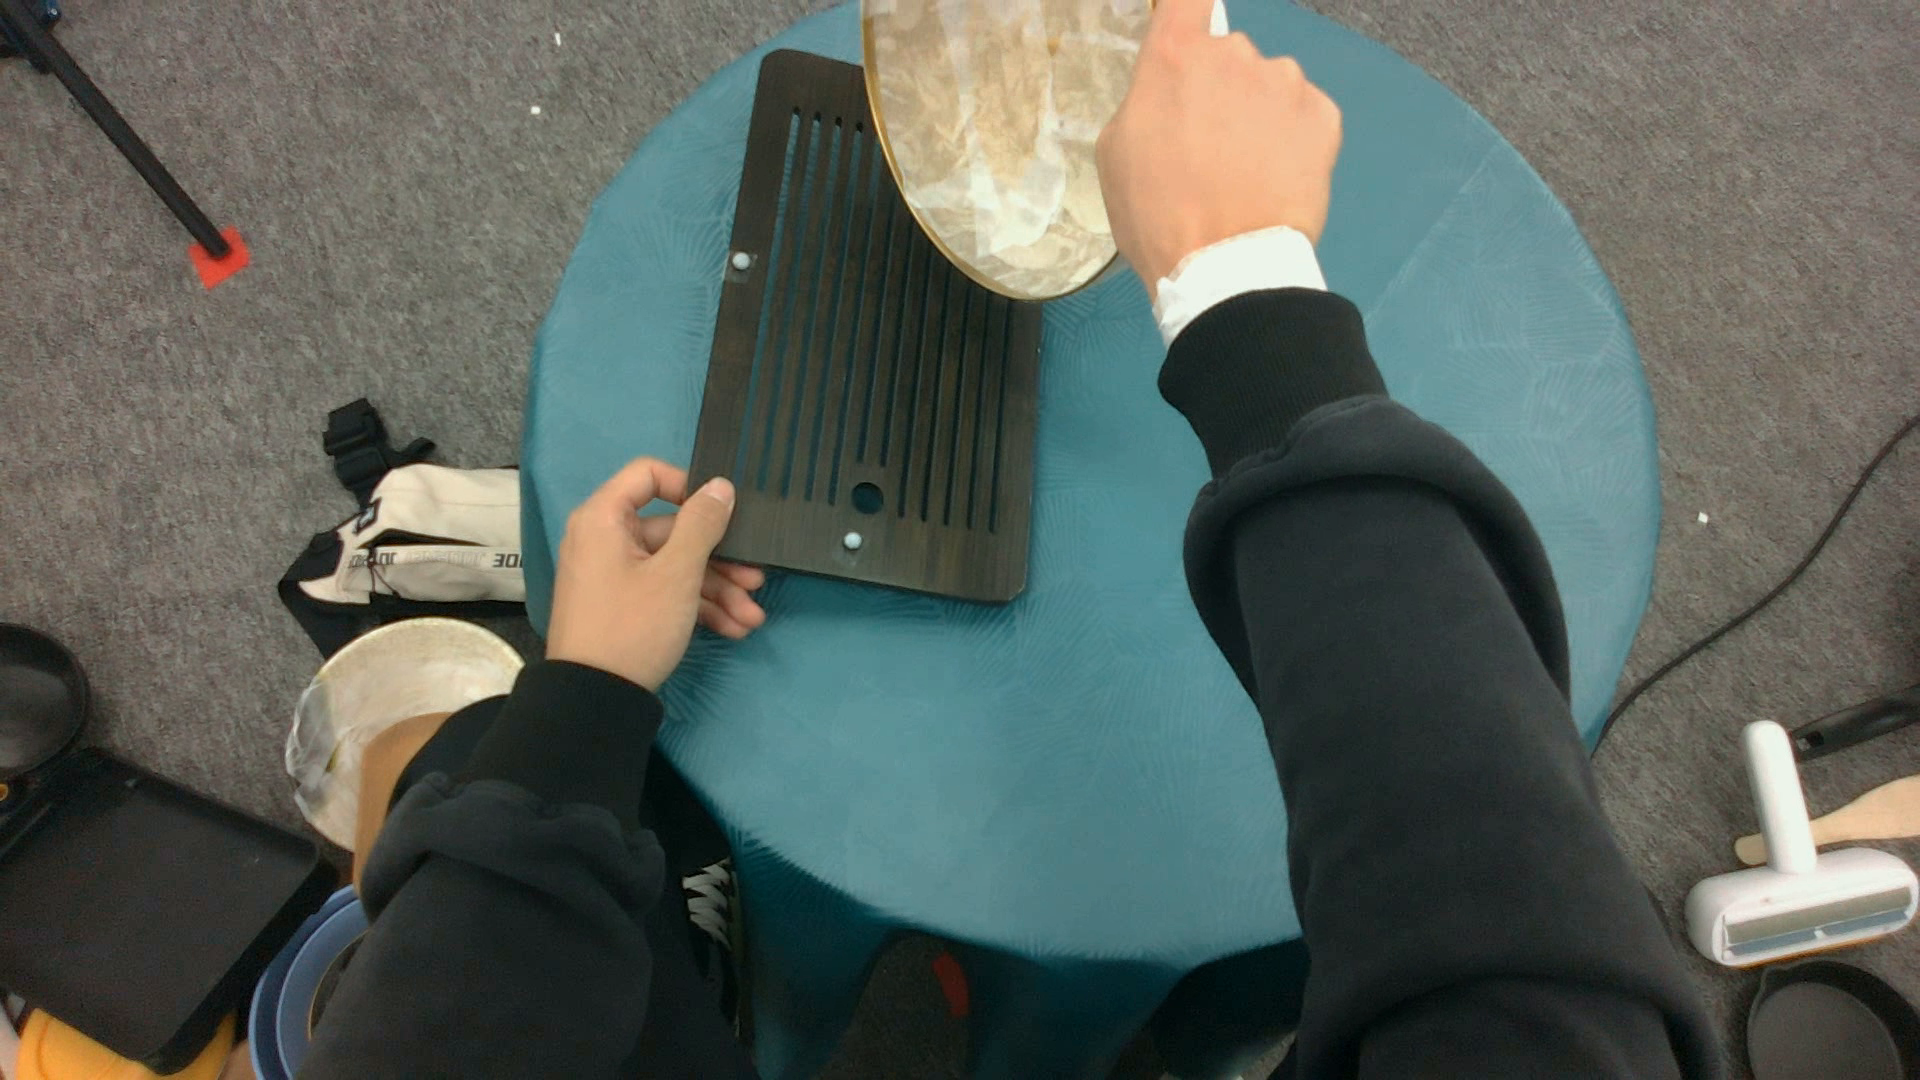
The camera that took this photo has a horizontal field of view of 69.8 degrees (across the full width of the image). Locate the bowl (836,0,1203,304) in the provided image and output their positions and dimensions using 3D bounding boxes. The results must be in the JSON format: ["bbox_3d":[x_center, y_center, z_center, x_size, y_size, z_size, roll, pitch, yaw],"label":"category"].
[{"bbox_3d":[0.039,-0.223,0.636,0.095,0.213,0.215,-25,69,-34],"label":"bowl"}]

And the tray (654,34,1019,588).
[{"bbox_3d":[-0.053,-0.127,0.720,0.170,0.018,0.307,10,66,-12],"label":"tray"}]
